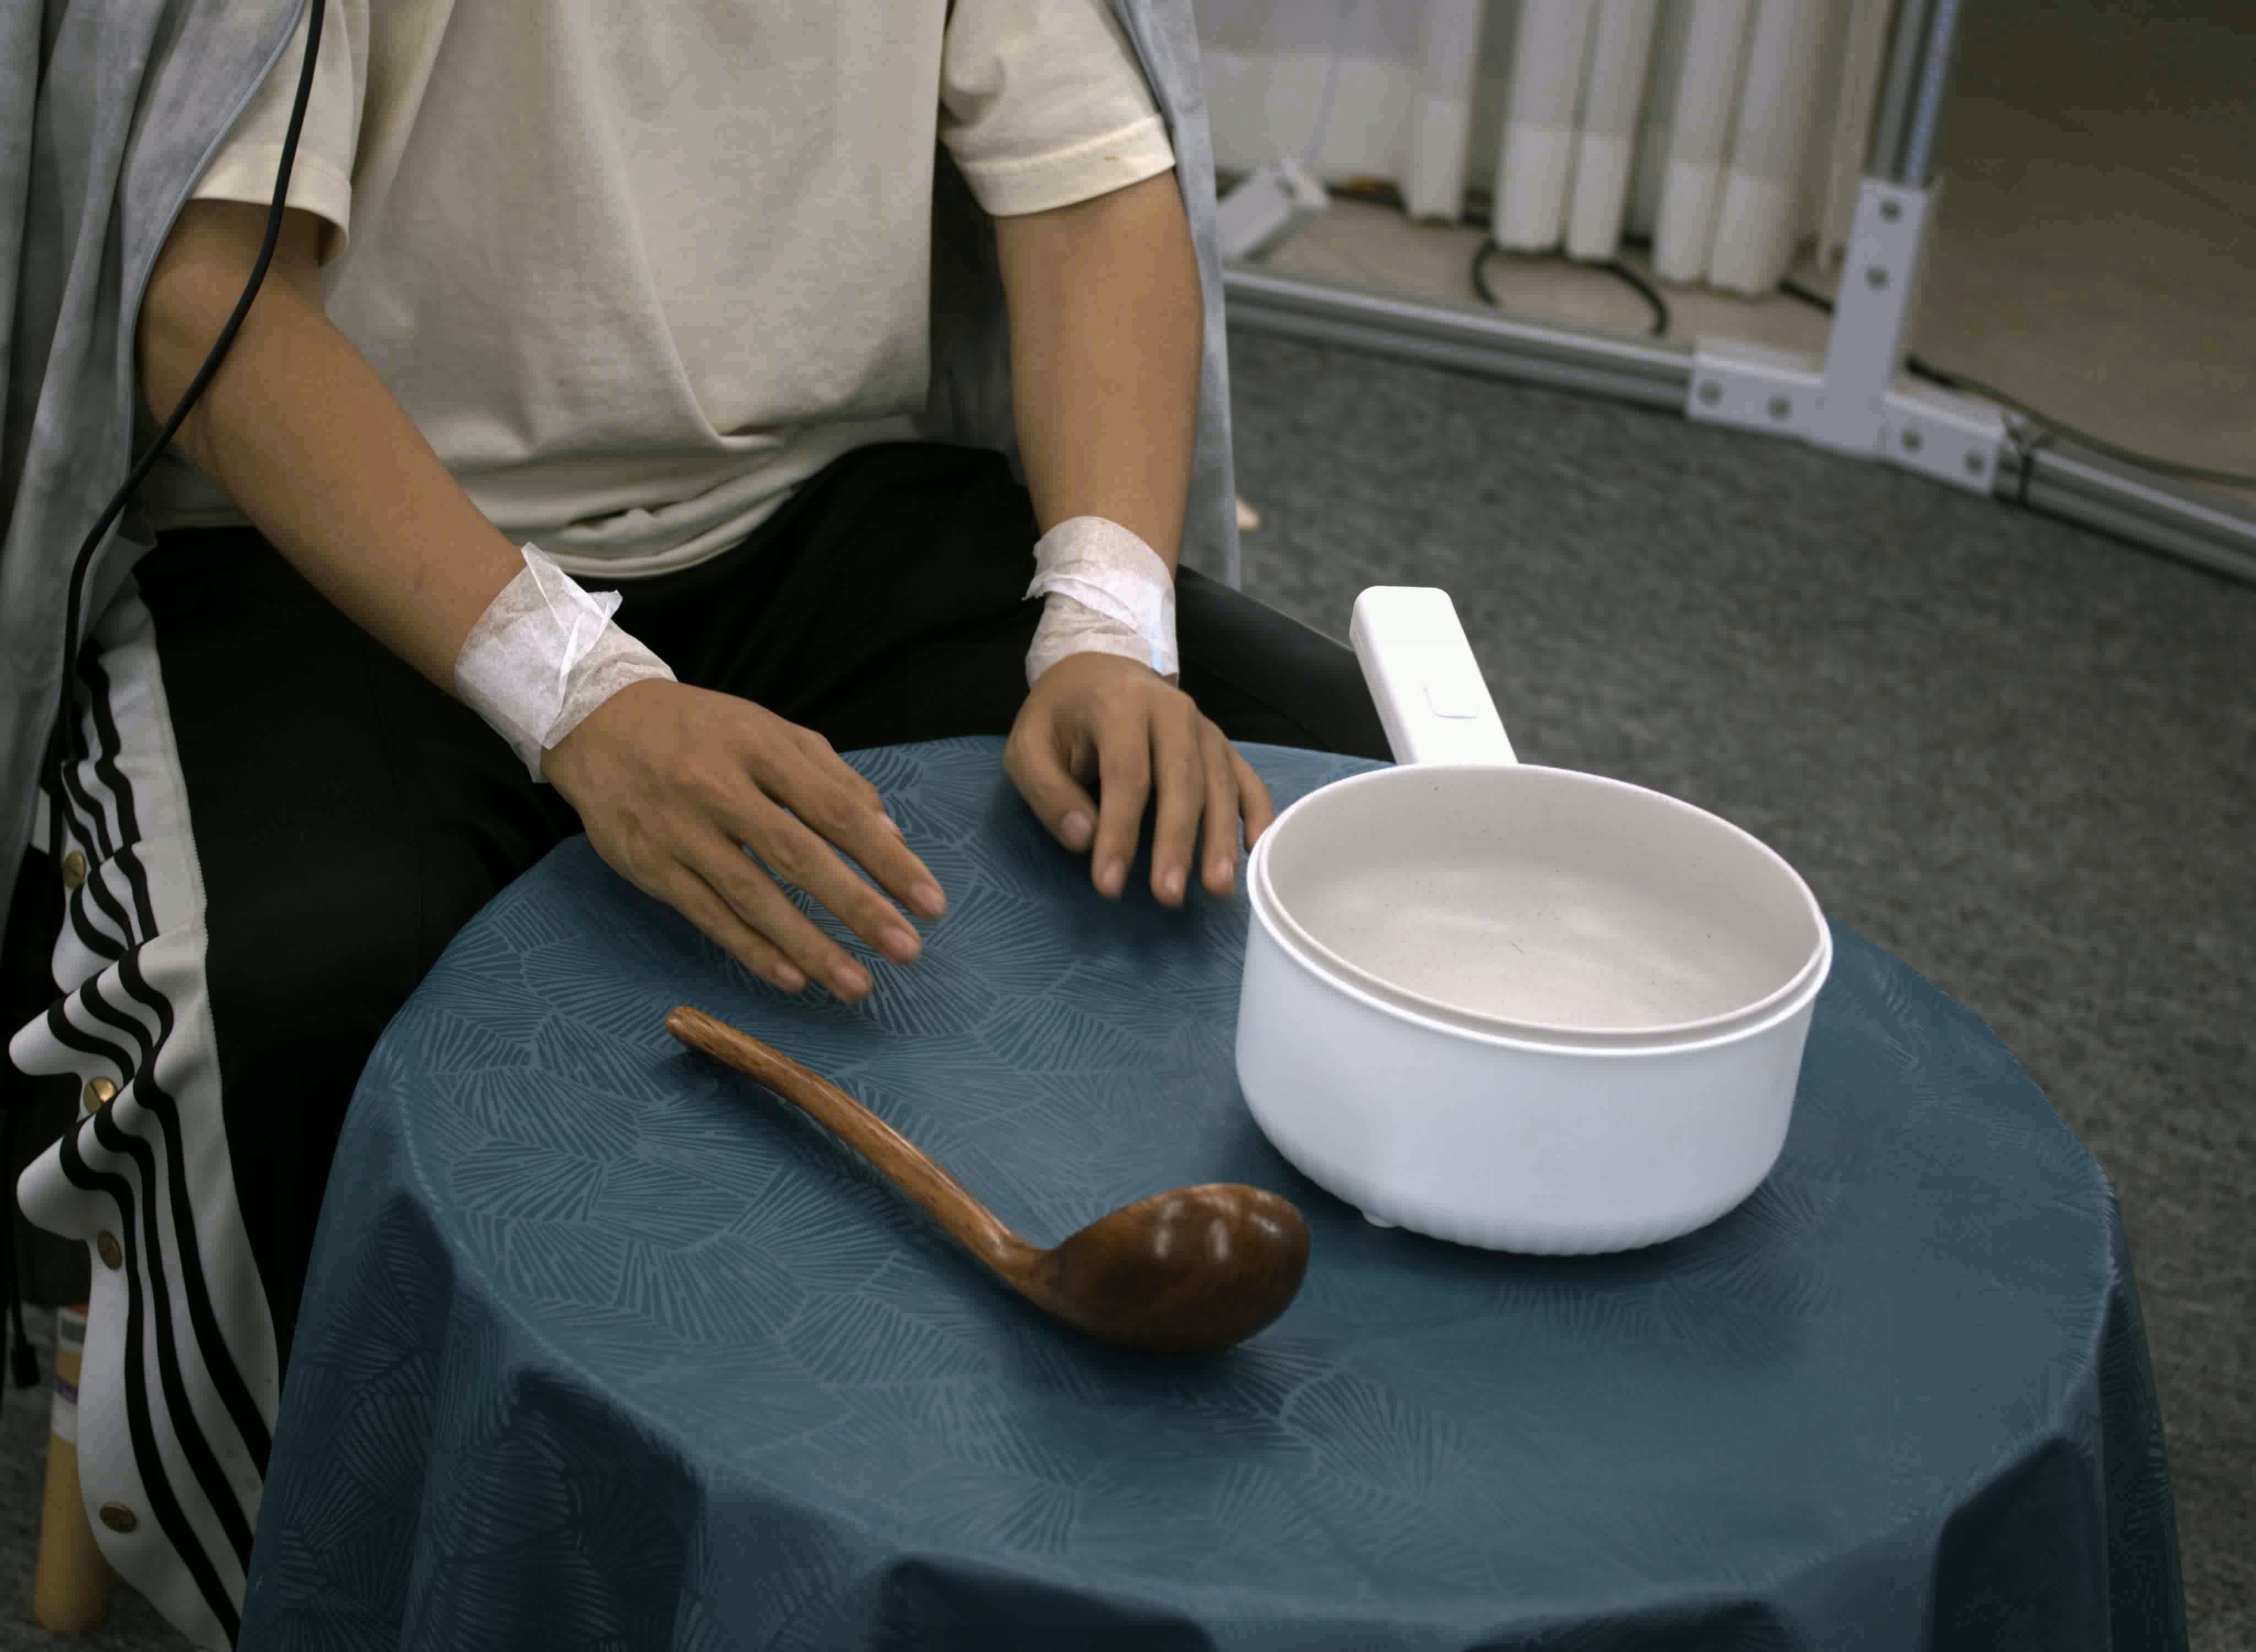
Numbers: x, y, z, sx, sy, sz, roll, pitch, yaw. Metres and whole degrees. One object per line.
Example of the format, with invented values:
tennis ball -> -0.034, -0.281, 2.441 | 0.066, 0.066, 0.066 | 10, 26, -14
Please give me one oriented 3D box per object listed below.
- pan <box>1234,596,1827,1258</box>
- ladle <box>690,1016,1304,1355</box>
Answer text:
pan -> 0.125, 0.033, 1.906 | 0.200, 0.102, 0.357 | 1, 26, -9
ladle -> -0.048, 0.099, 1.767 | 0.076, 0.081, 0.276 | -50, 44, -7
